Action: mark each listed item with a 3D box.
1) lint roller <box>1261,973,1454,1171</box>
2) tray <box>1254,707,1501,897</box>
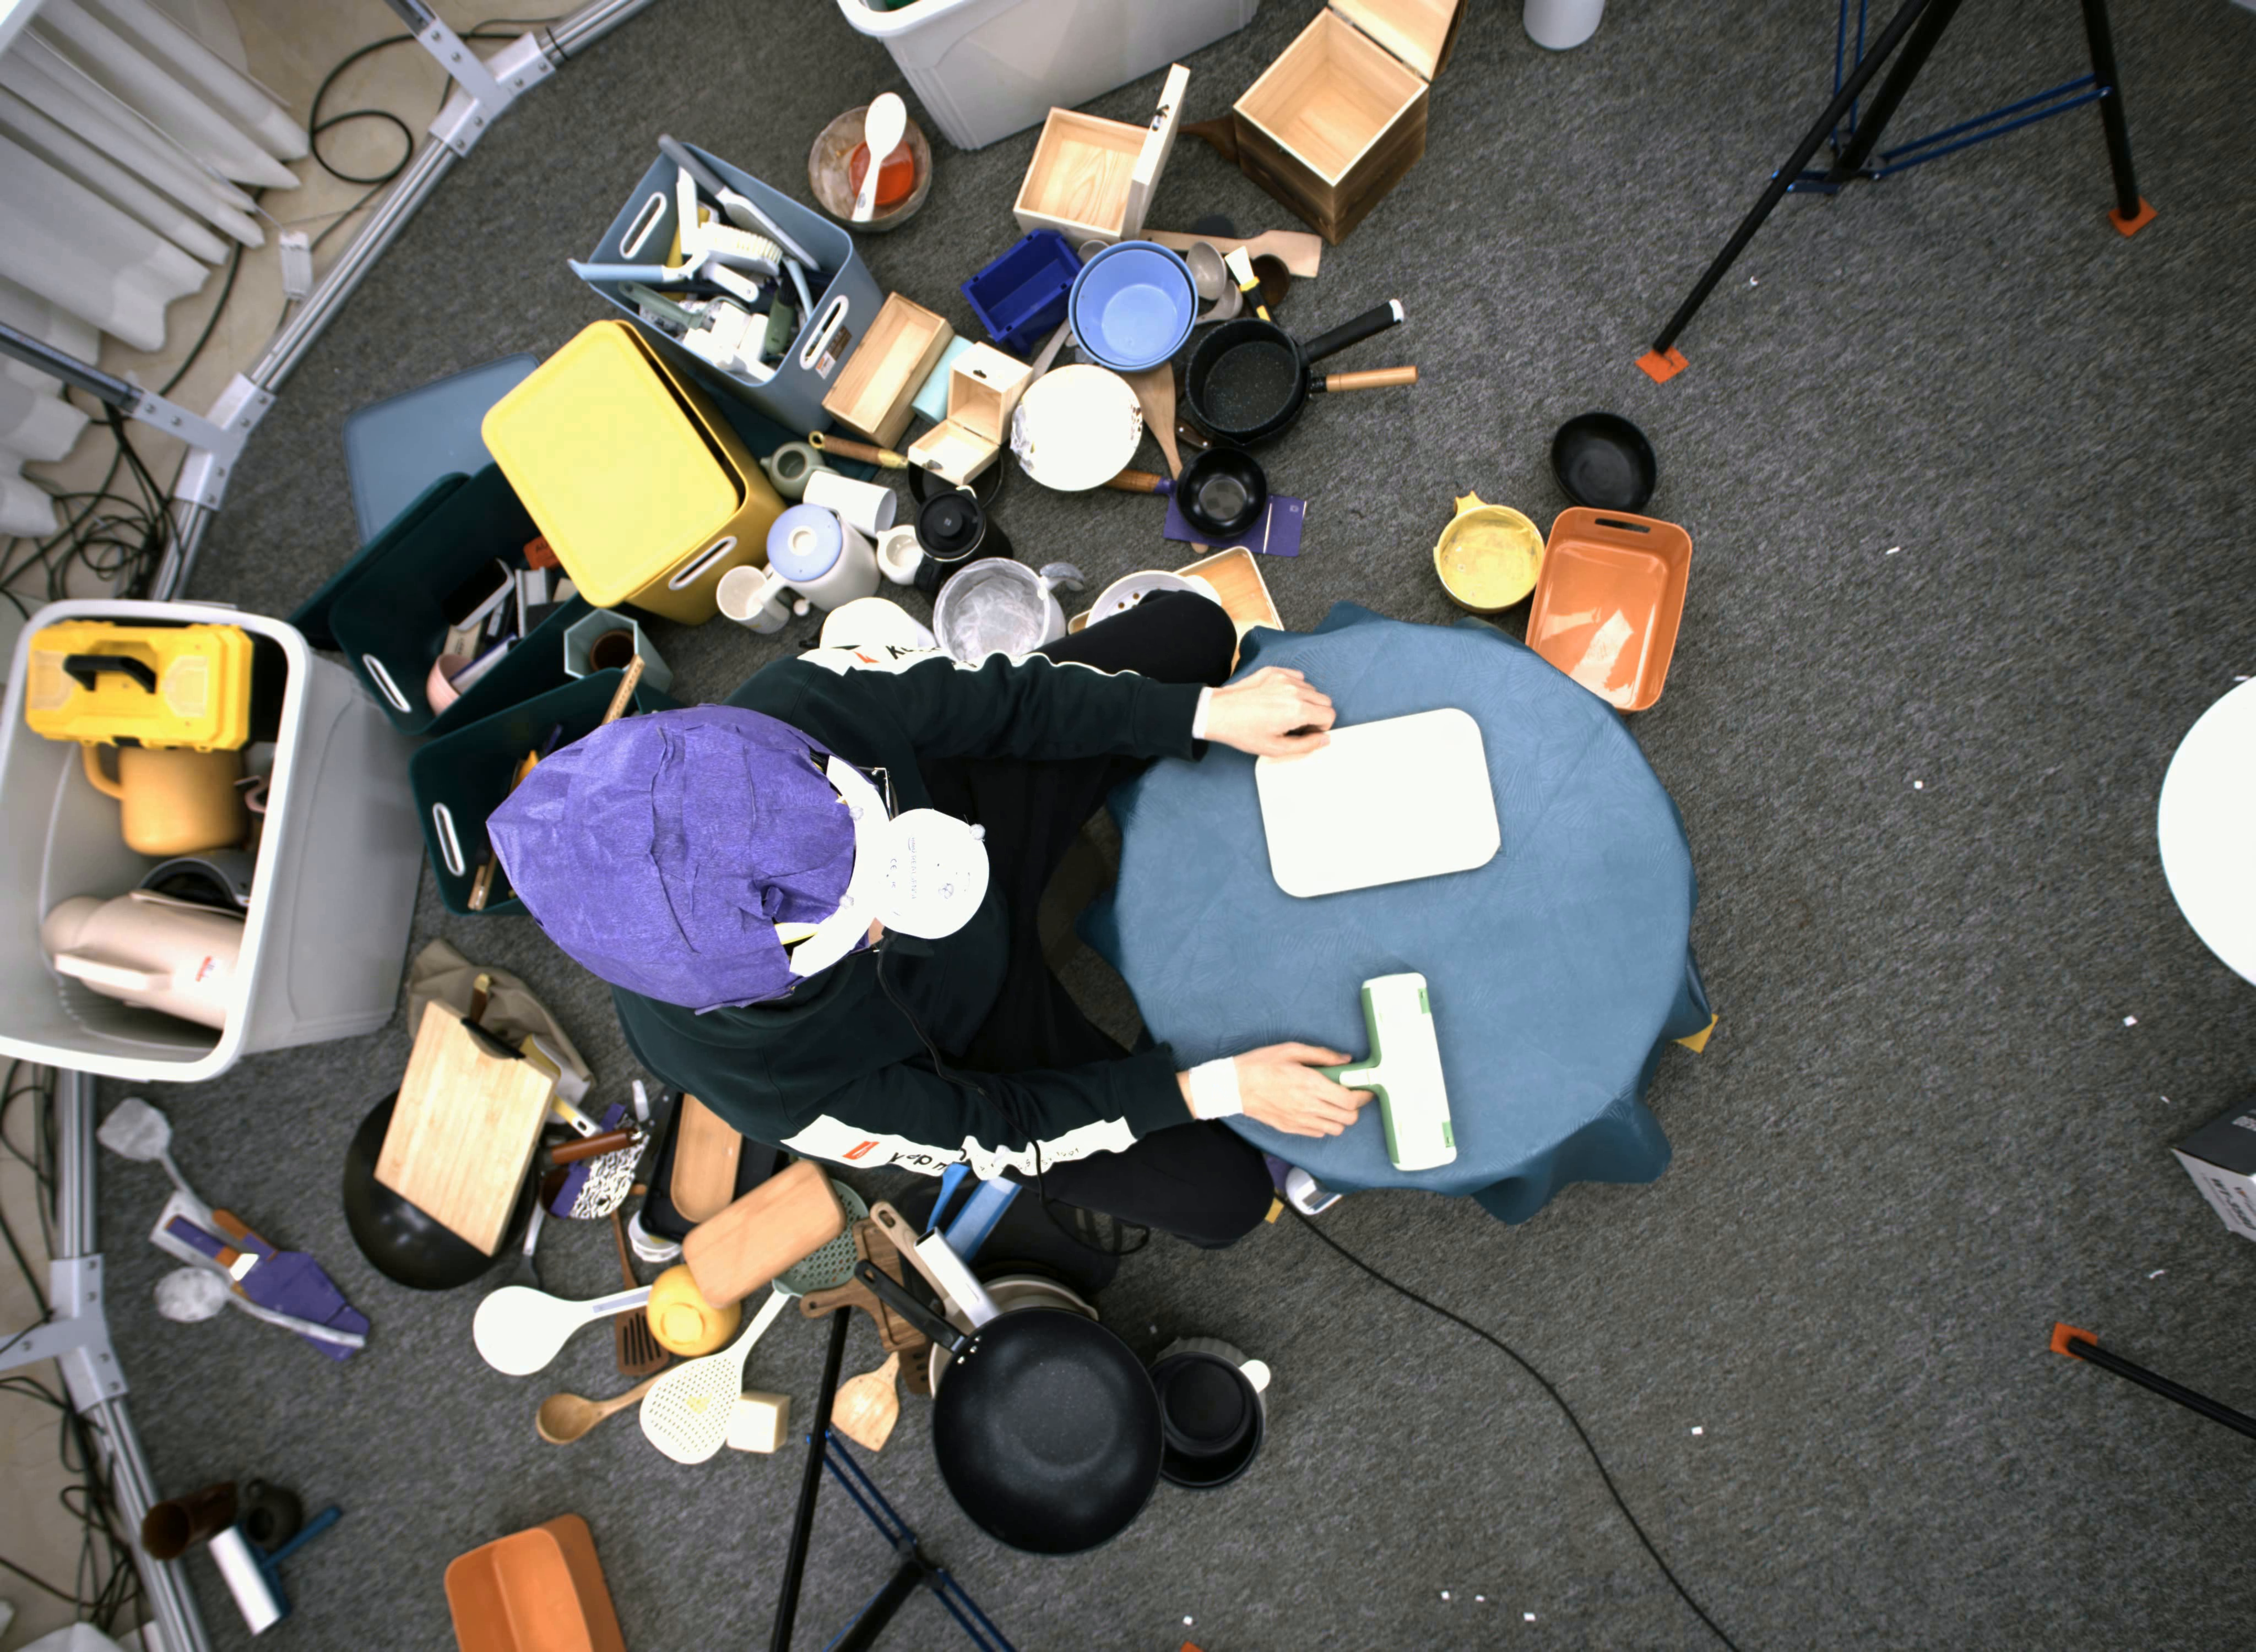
[{"bbox_3d":[0.227,0.258,1.414,0.184,0.082,0.197,-9,85,5],"label":"lint roller"},{"bbox_3d":[0.261,-0.026,1.451,0.241,0.017,0.170,-11,86,9],"label":"tray"}]
